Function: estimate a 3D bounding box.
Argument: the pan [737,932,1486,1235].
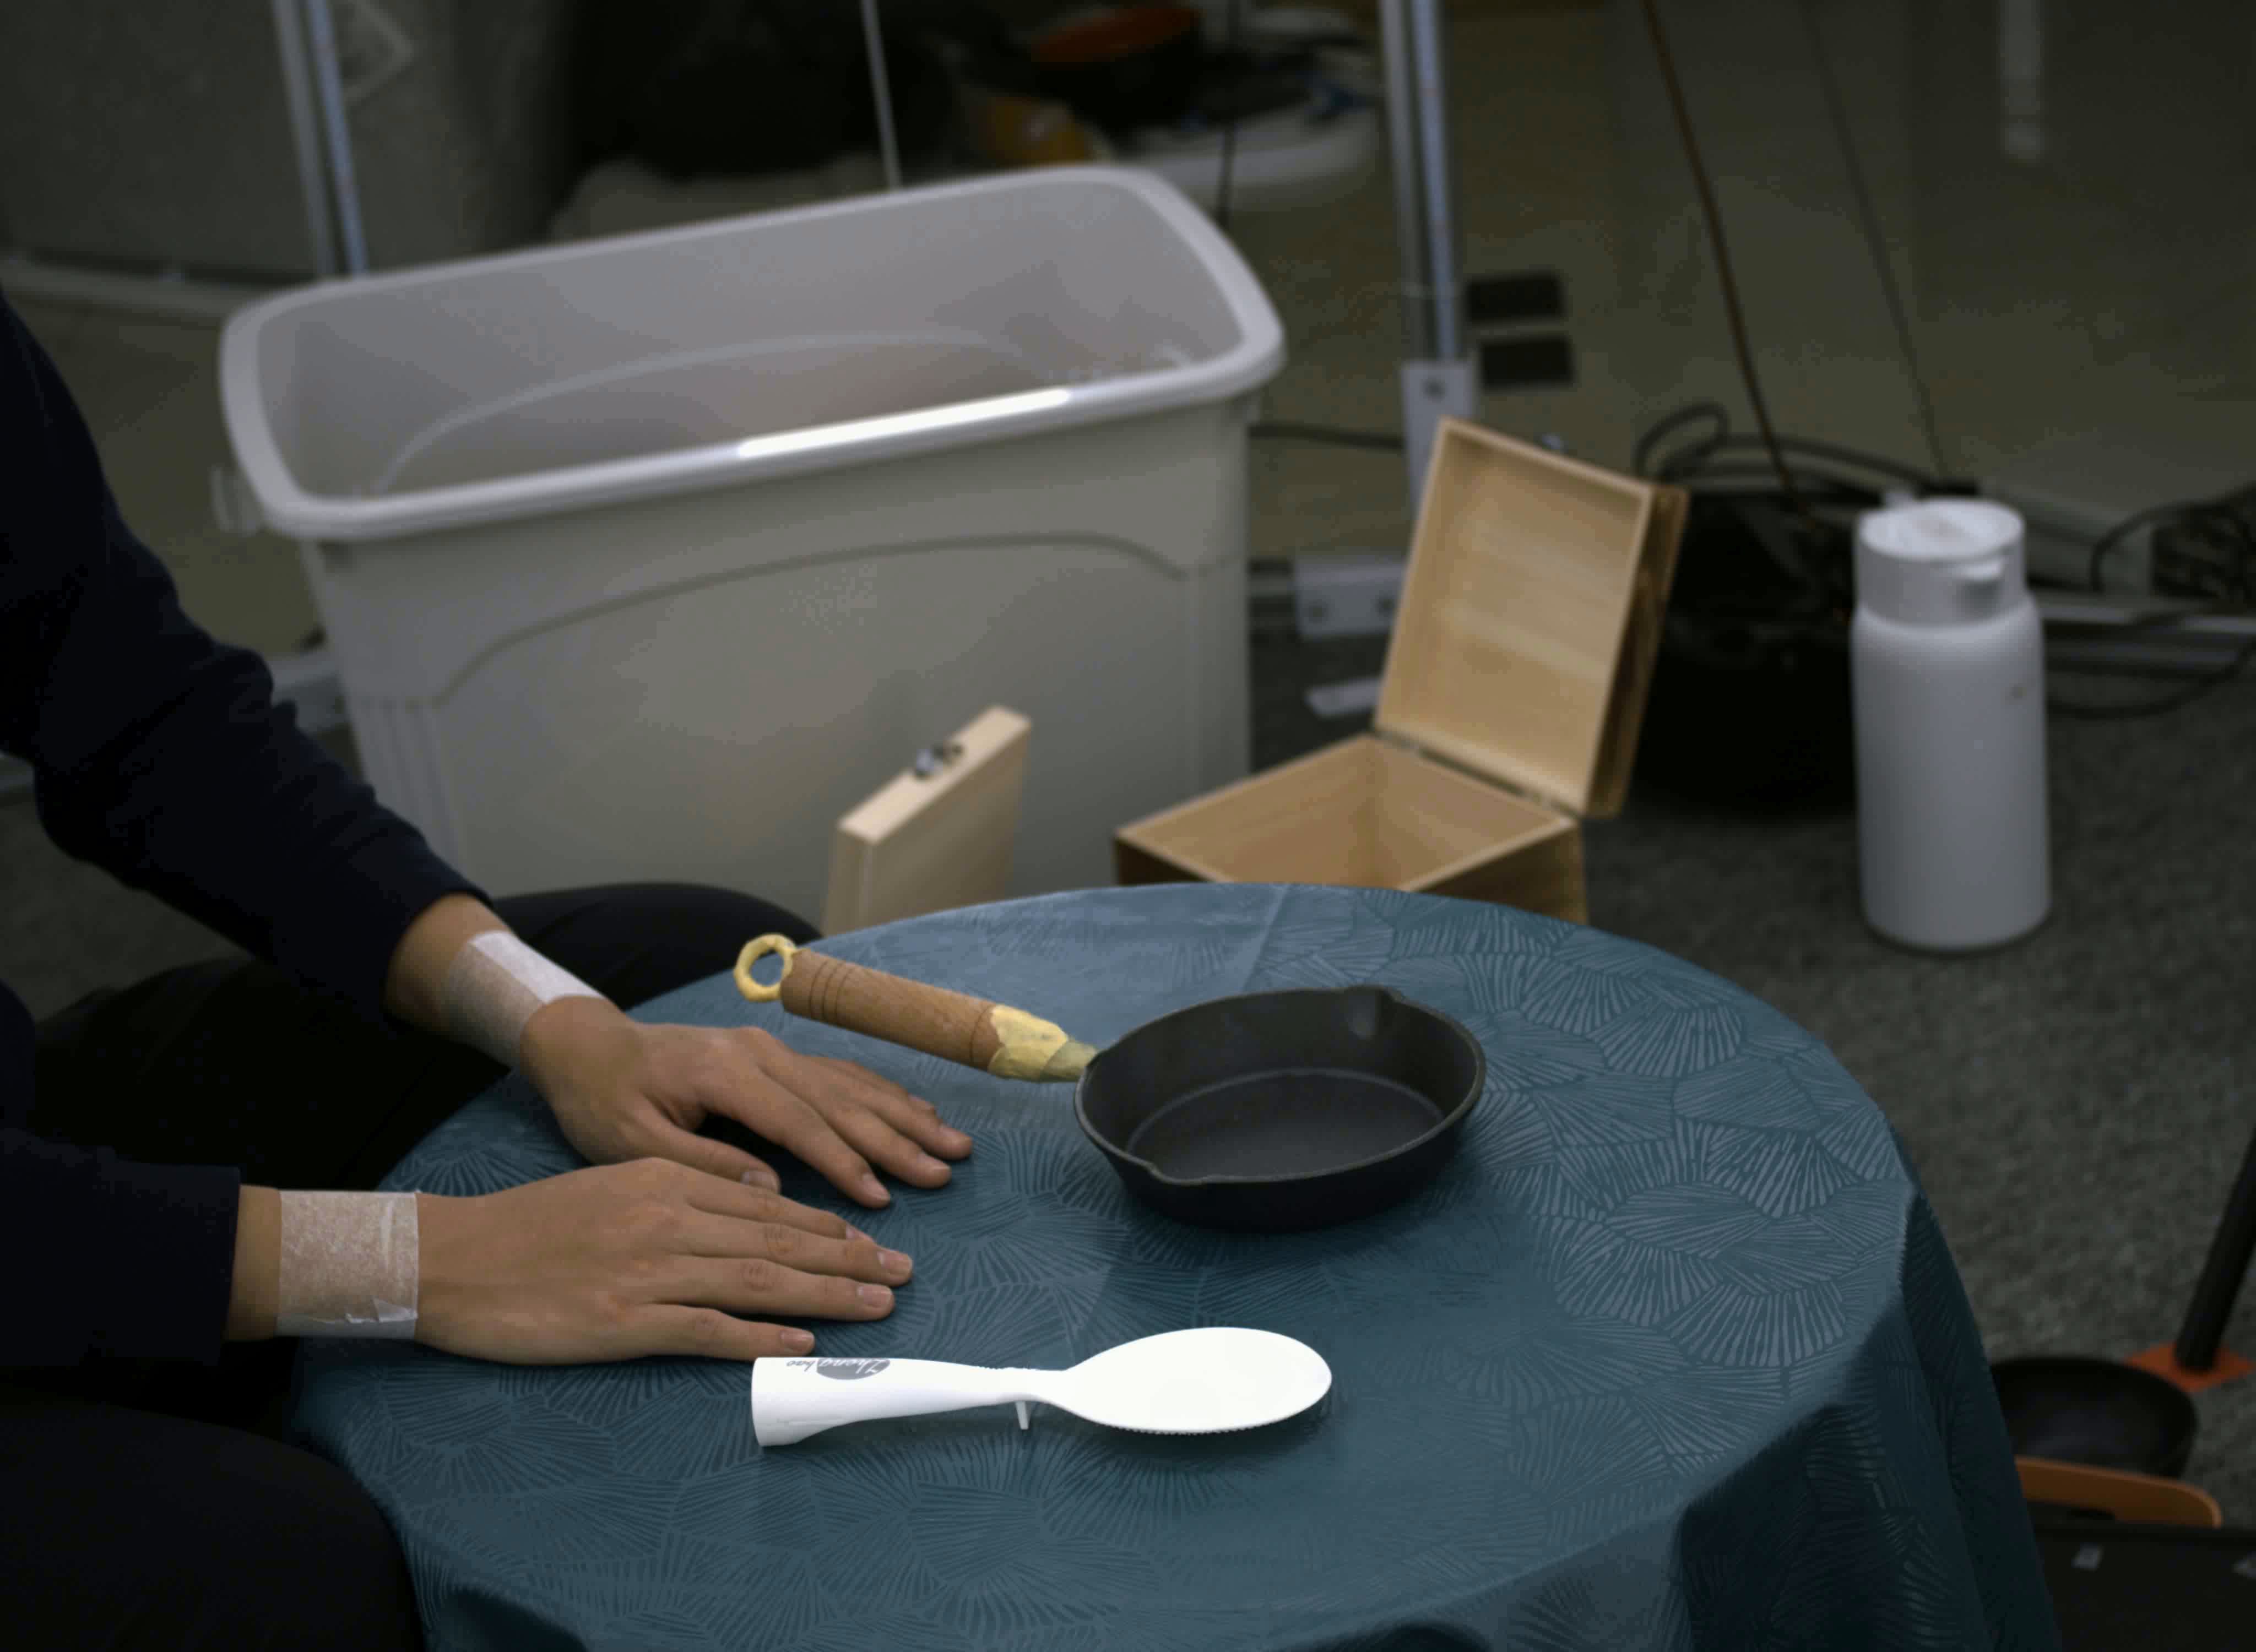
[{"bbox_3d":[-0.014,0.091,2.193,0.322,0.050,0.167,11,30,30],"label":"pan"}]

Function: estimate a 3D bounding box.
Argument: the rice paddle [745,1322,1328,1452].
[{"bbox_3d":[-0.032,0.197,1.997,0.205,0.030,0.068,-4,27,6],"label":"rice paddle"}]
